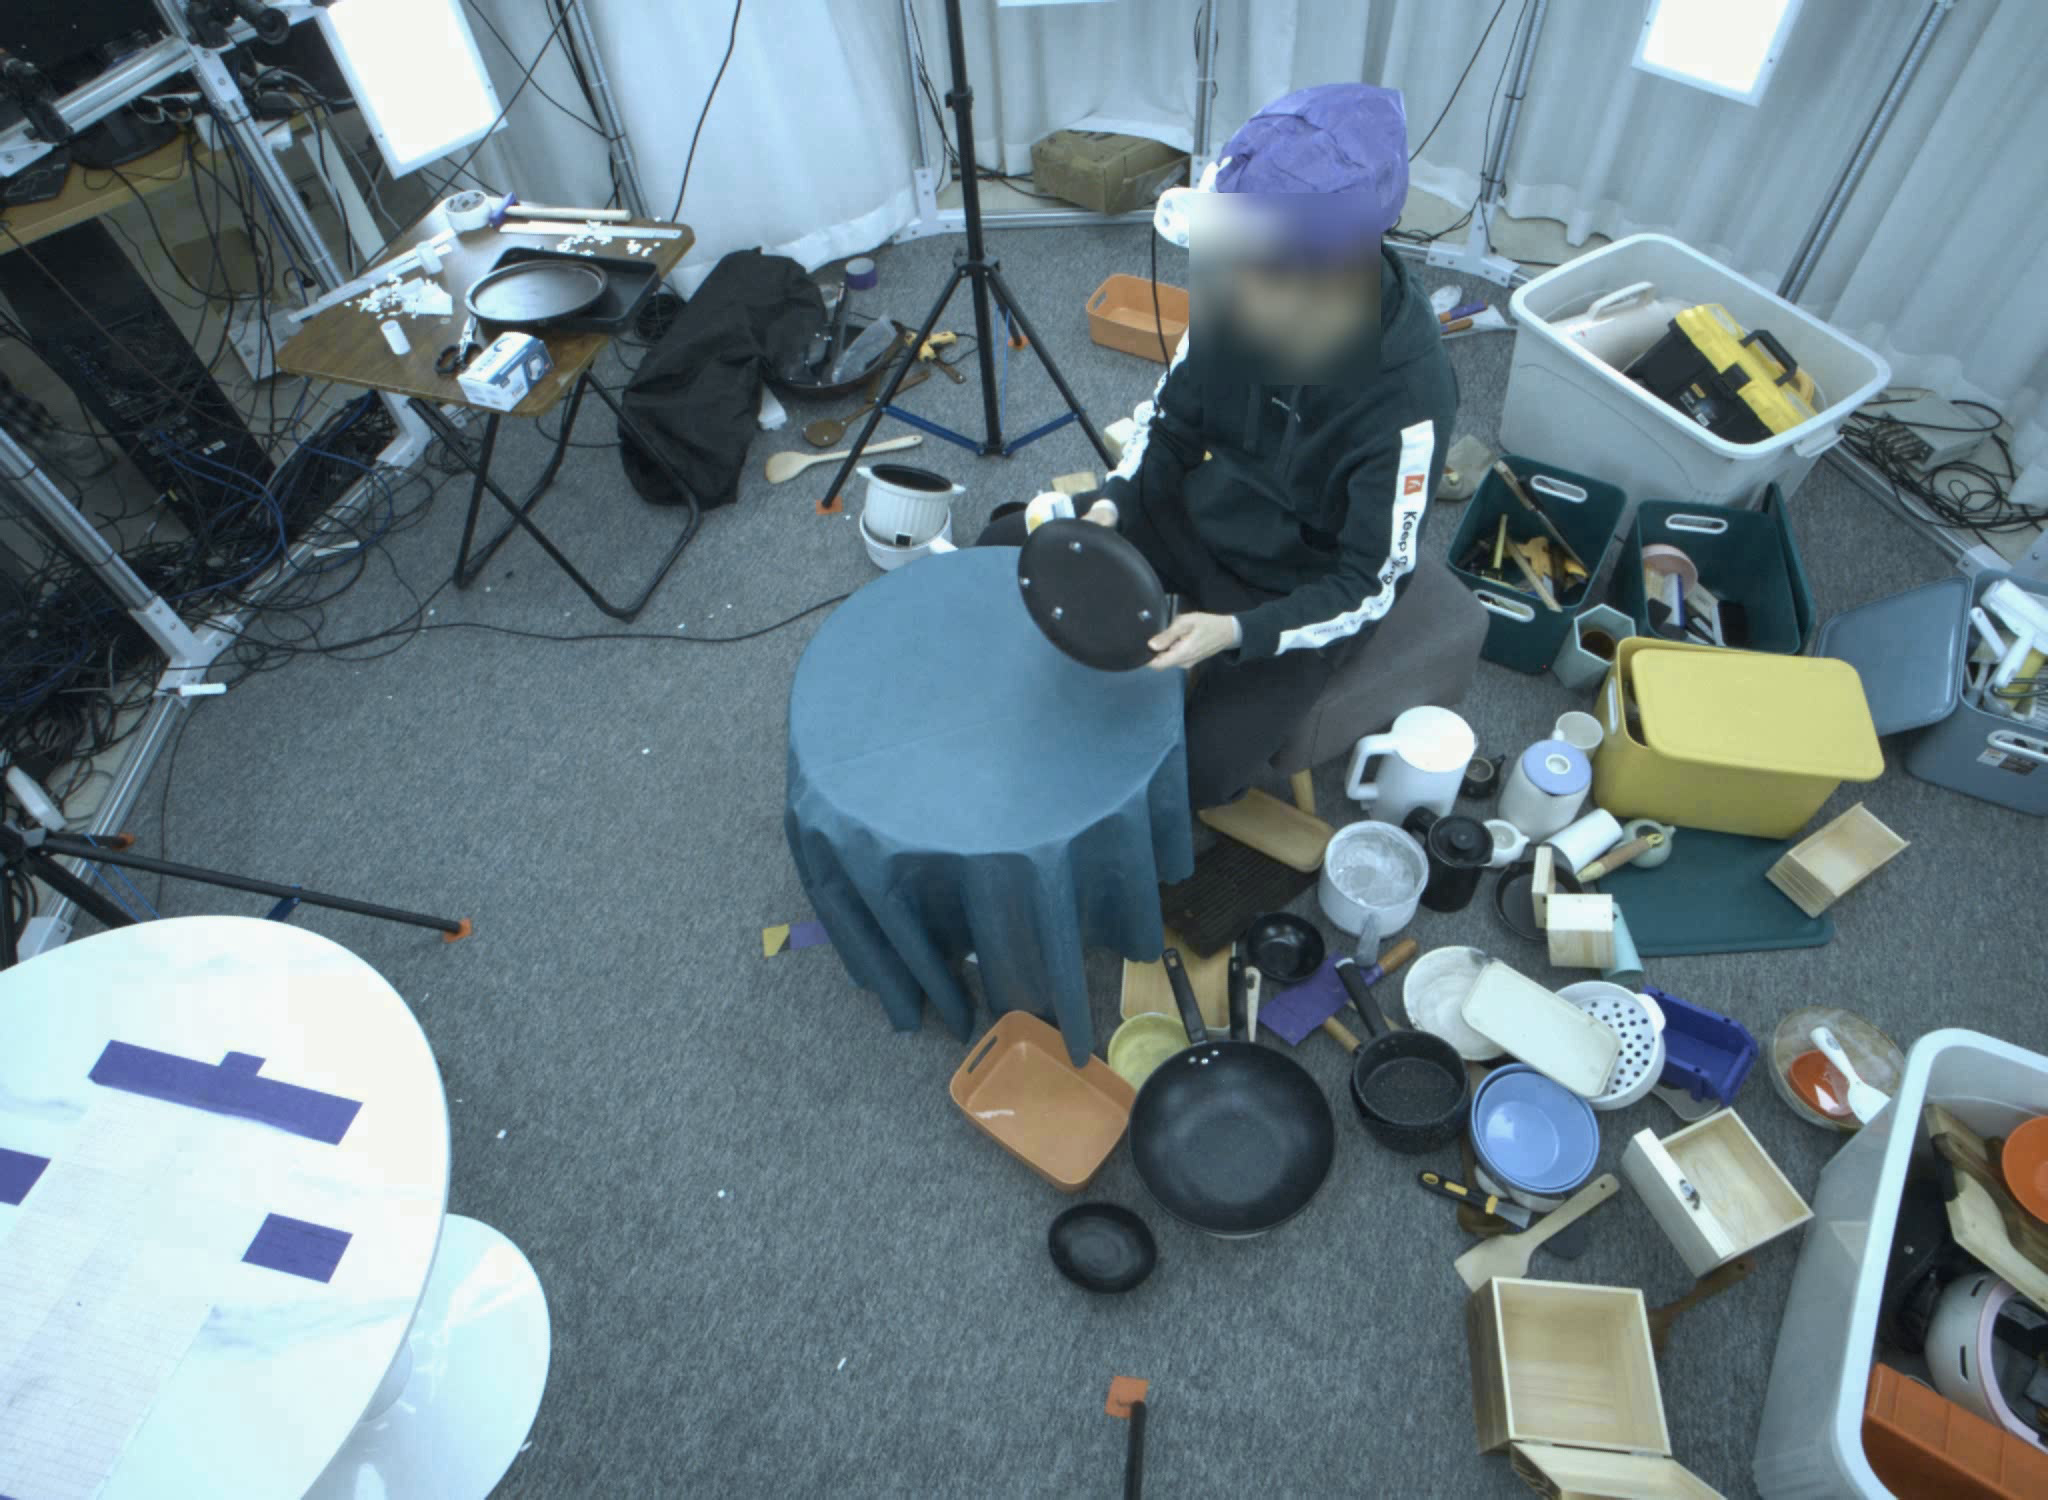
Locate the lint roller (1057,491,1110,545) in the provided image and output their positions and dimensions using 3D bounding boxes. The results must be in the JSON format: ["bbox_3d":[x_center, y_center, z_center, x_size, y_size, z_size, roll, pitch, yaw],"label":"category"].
[{"bbox_3d":[0.125,-0.282,1.798,0.073,0.193,0.196,-6,7,41],"label":"lint roller"}]

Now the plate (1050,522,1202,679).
[{"bbox_3d":[0.139,-0.205,1.694,0.249,0.023,0.242,14,62,-26],"label":"plate"}]
